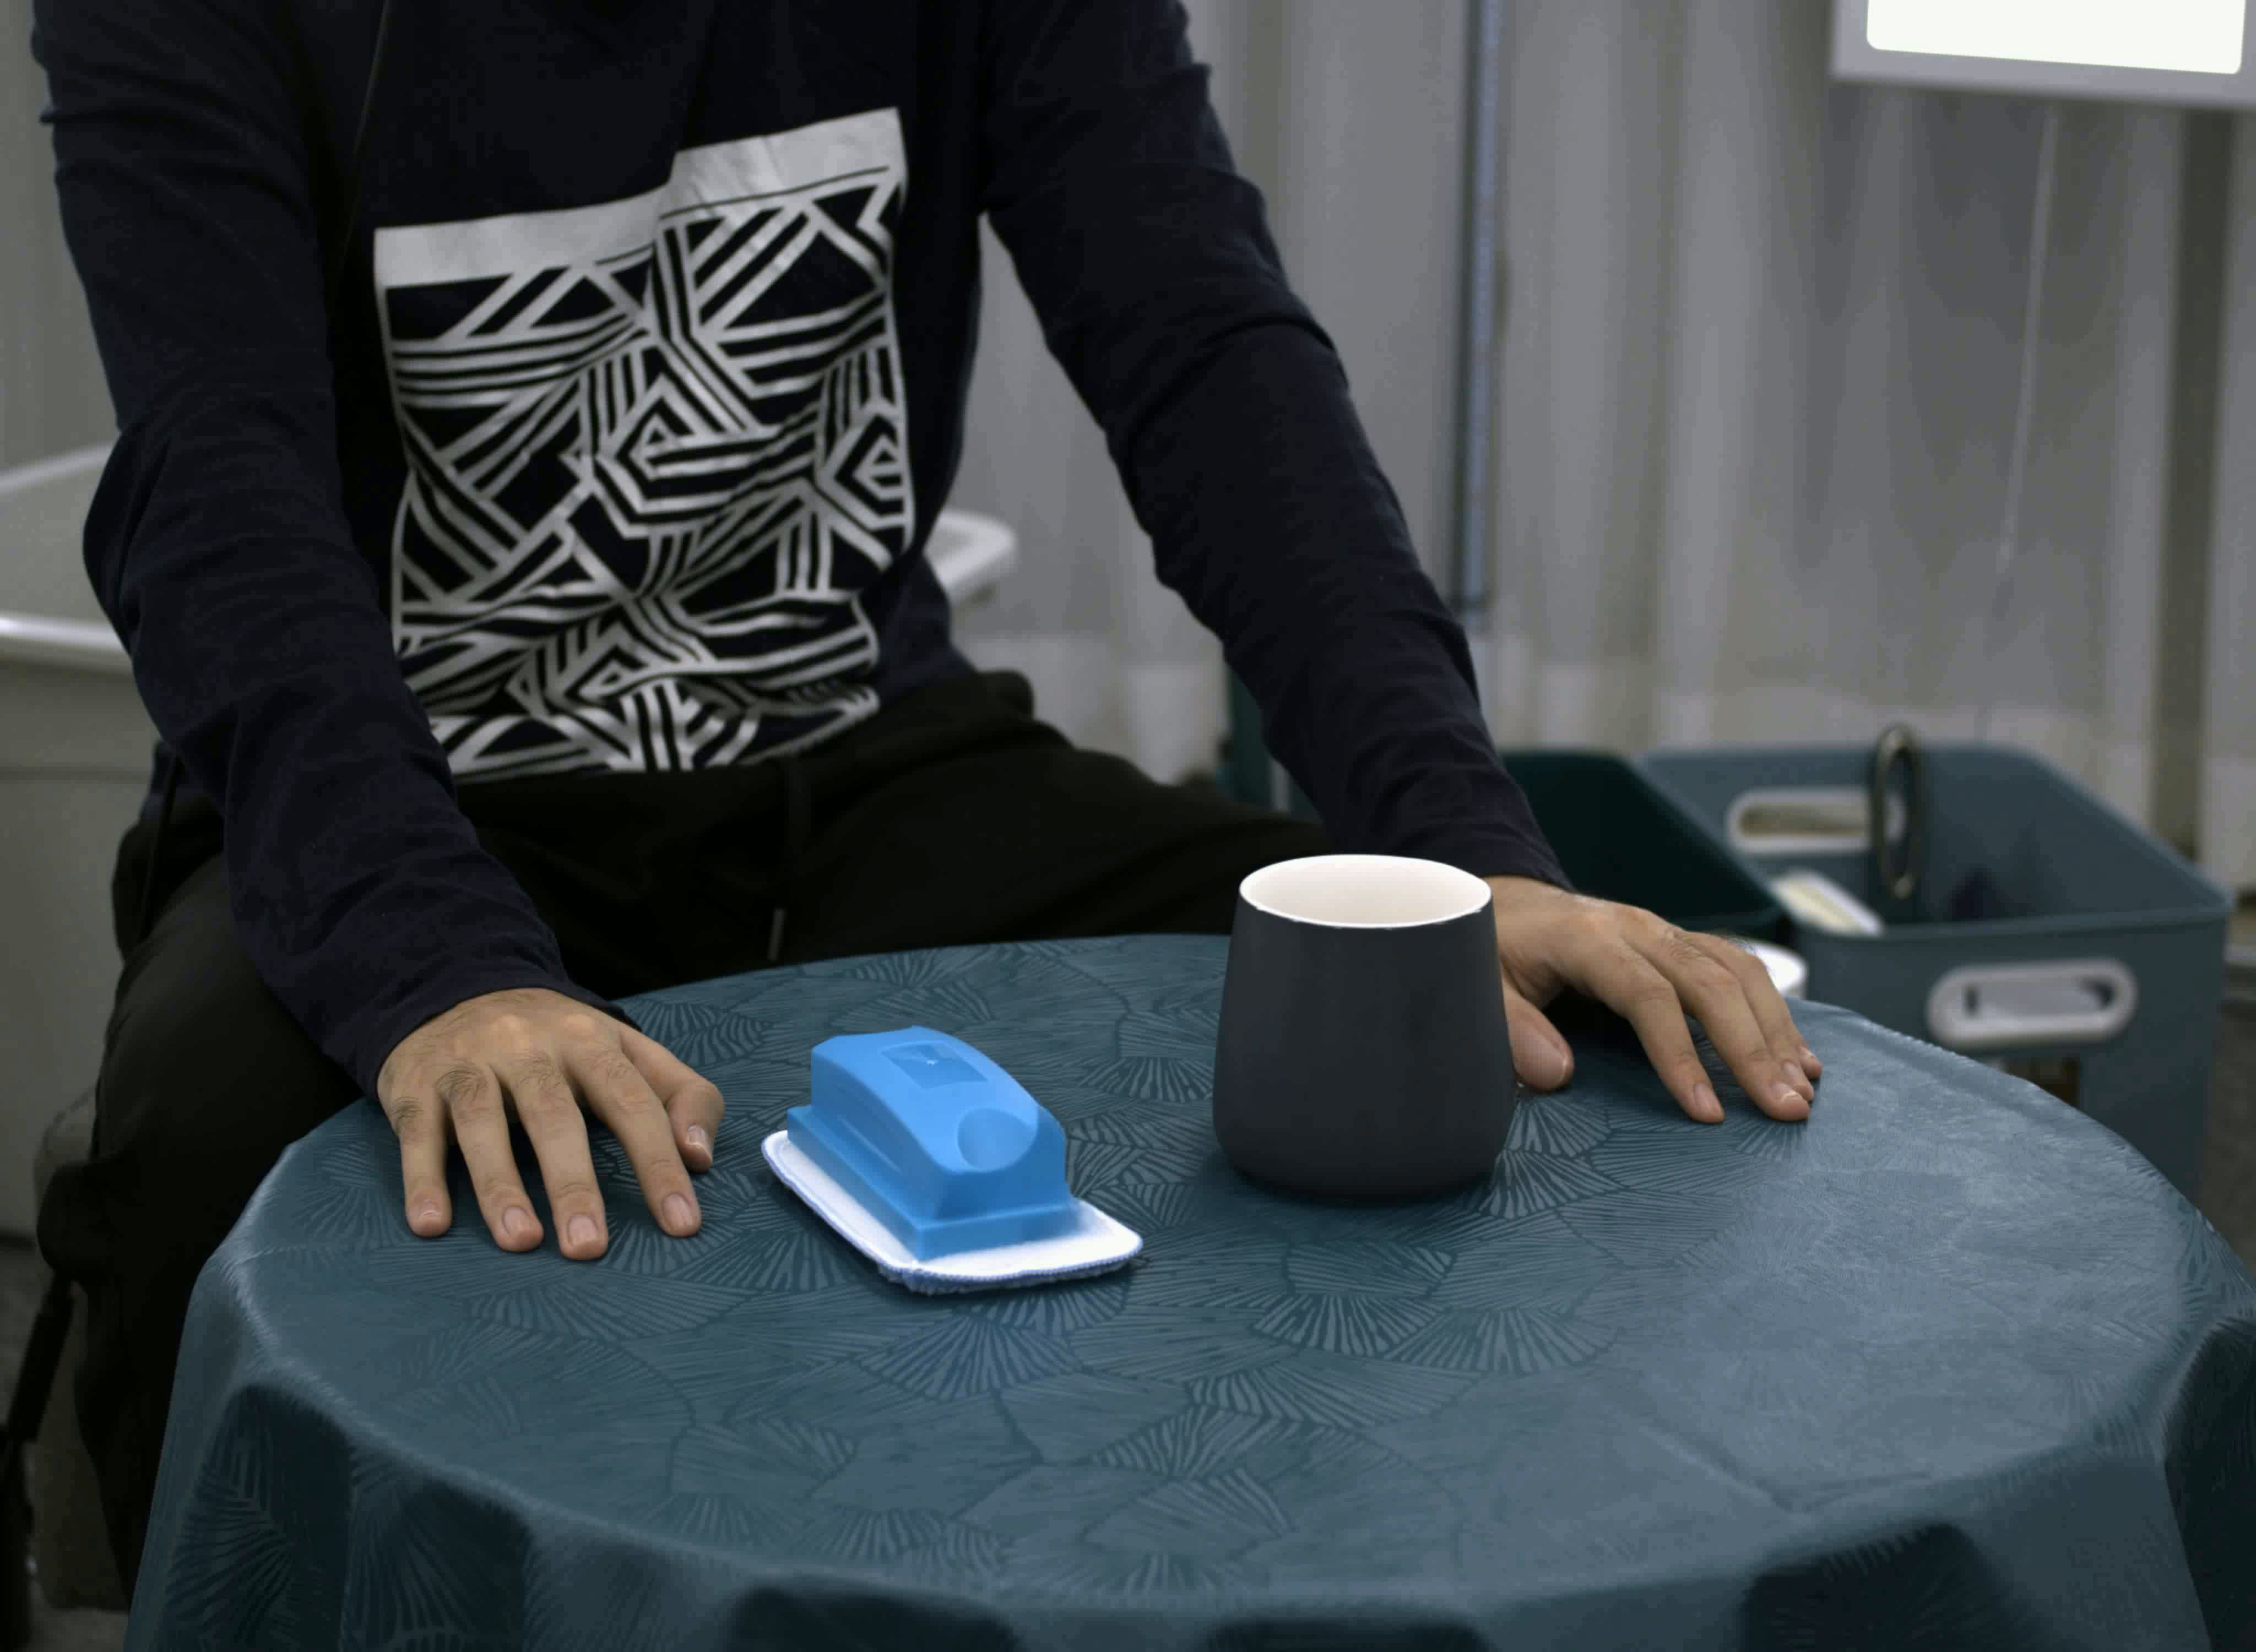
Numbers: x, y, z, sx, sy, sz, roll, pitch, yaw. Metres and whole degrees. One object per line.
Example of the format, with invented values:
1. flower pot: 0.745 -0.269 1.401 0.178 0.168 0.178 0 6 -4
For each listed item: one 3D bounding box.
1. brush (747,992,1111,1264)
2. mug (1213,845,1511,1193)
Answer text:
1. brush: -0.059 0.089 1.595 0.084 0.056 0.142 -2 18 -21
2. mug: 0.069 0.056 1.652 0.094 0.090 0.122 -4 18 -22
